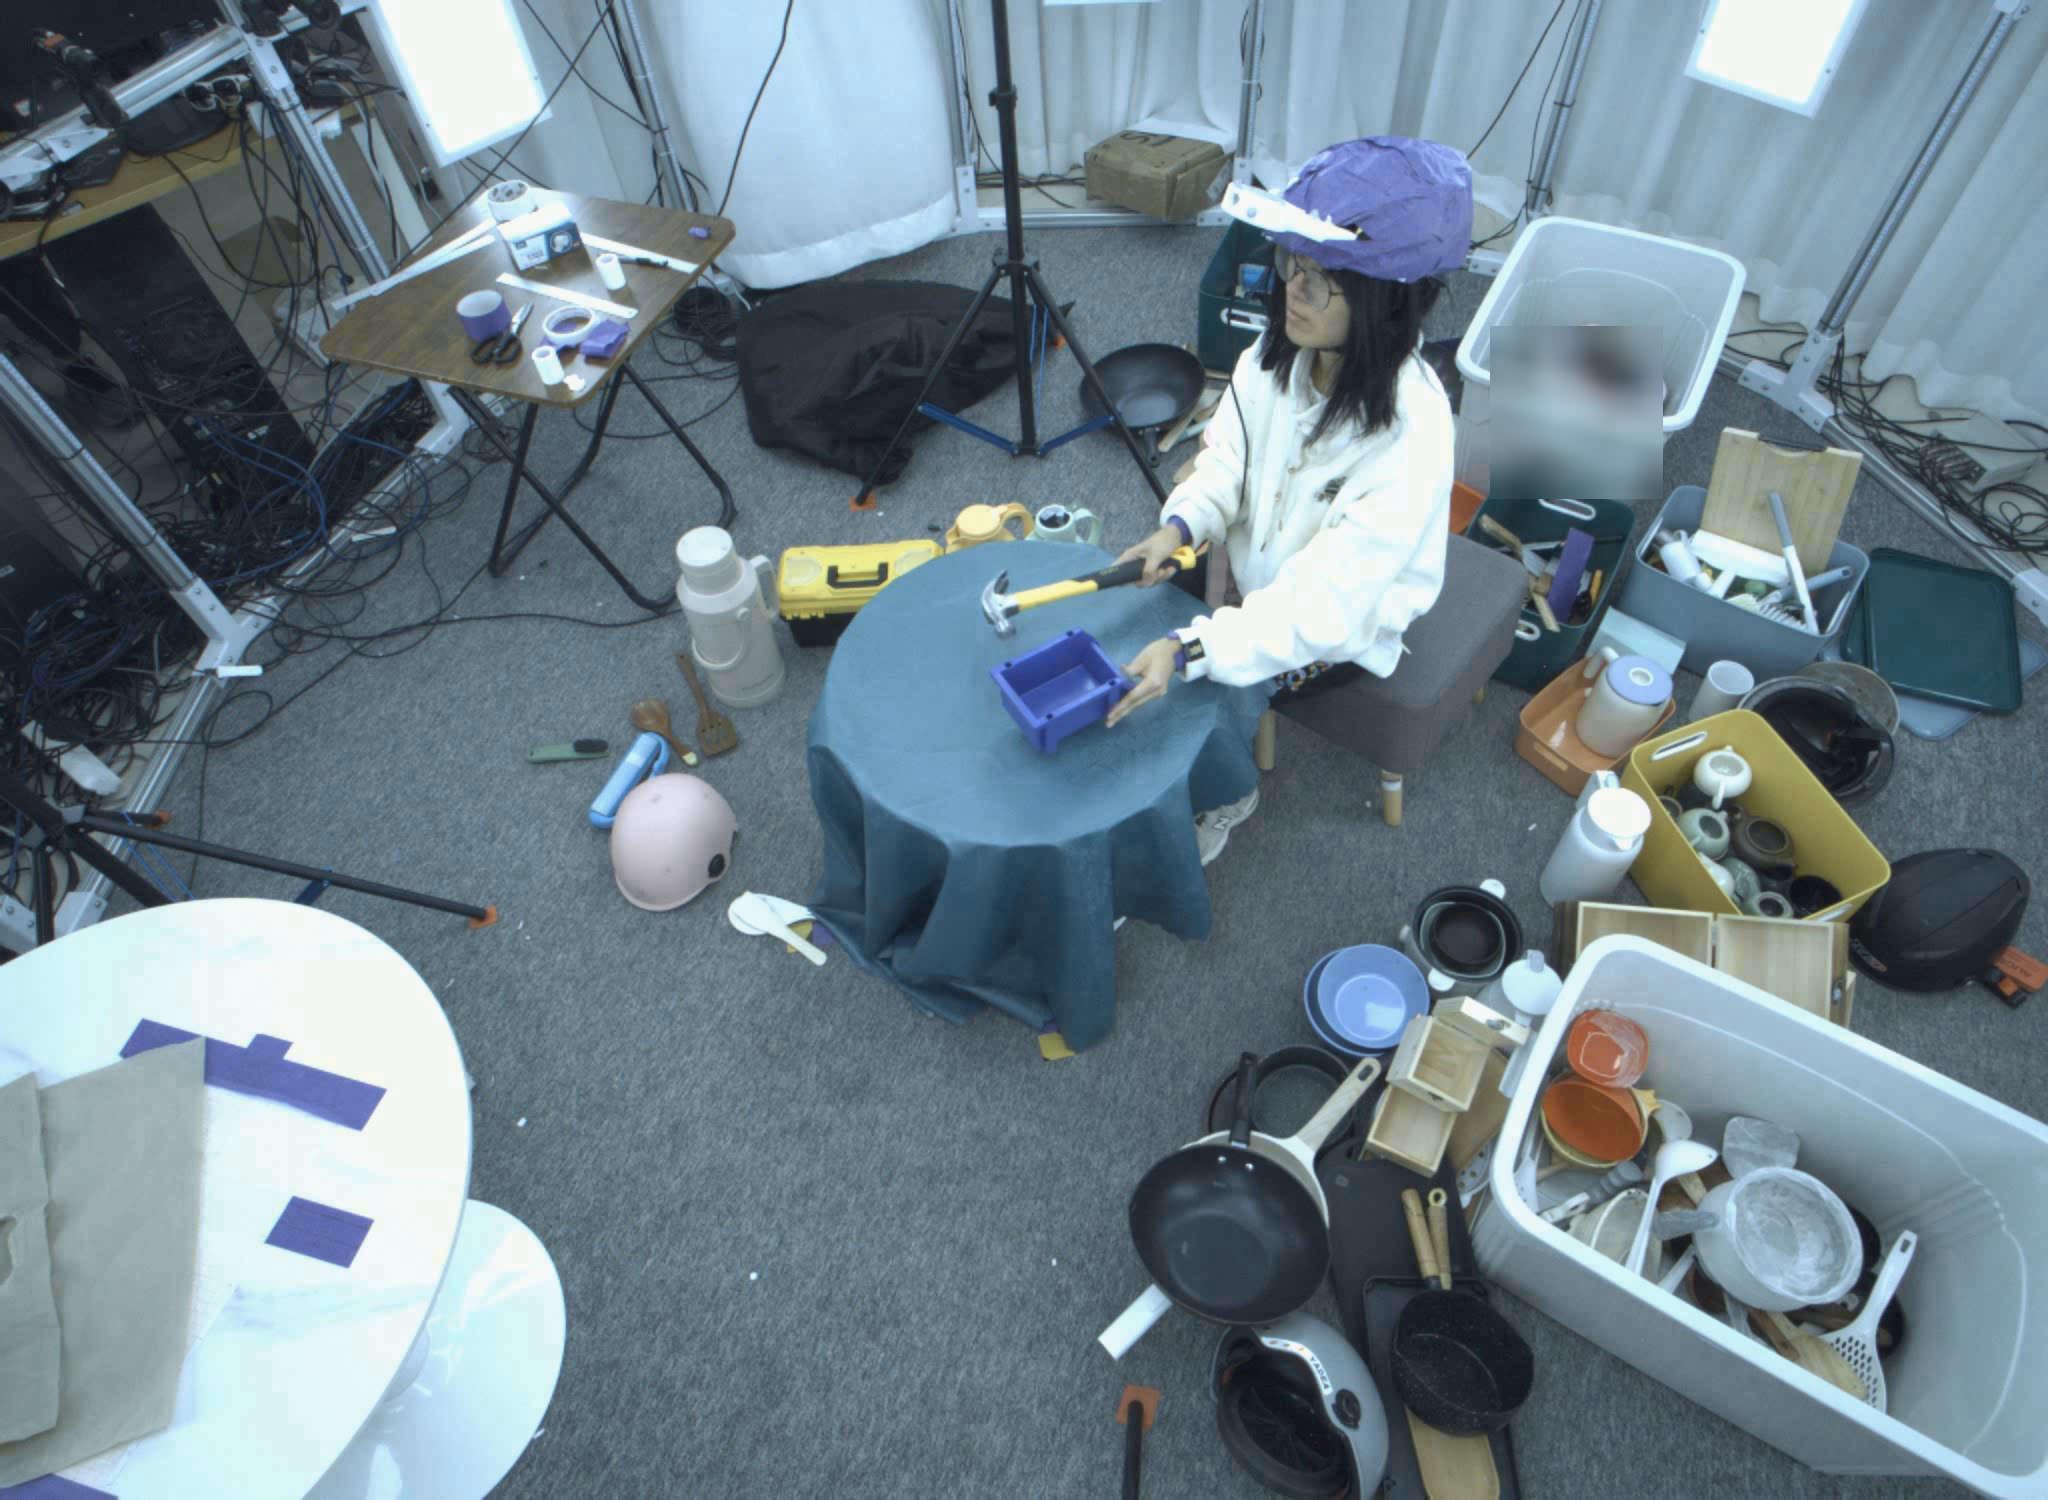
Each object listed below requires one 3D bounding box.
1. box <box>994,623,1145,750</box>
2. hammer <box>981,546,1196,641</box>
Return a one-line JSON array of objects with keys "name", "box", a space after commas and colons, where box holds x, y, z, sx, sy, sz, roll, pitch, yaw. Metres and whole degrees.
[{"name": "box", "box": [0.065, -0.095, 1.751, 0.181, 0.083, 0.122, -29, 61, -15]}, {"name": "hammer", "box": [0.099, -0.253, 1.852, 0.341, 0.032, 0.129, -16, 46, -11]}]
